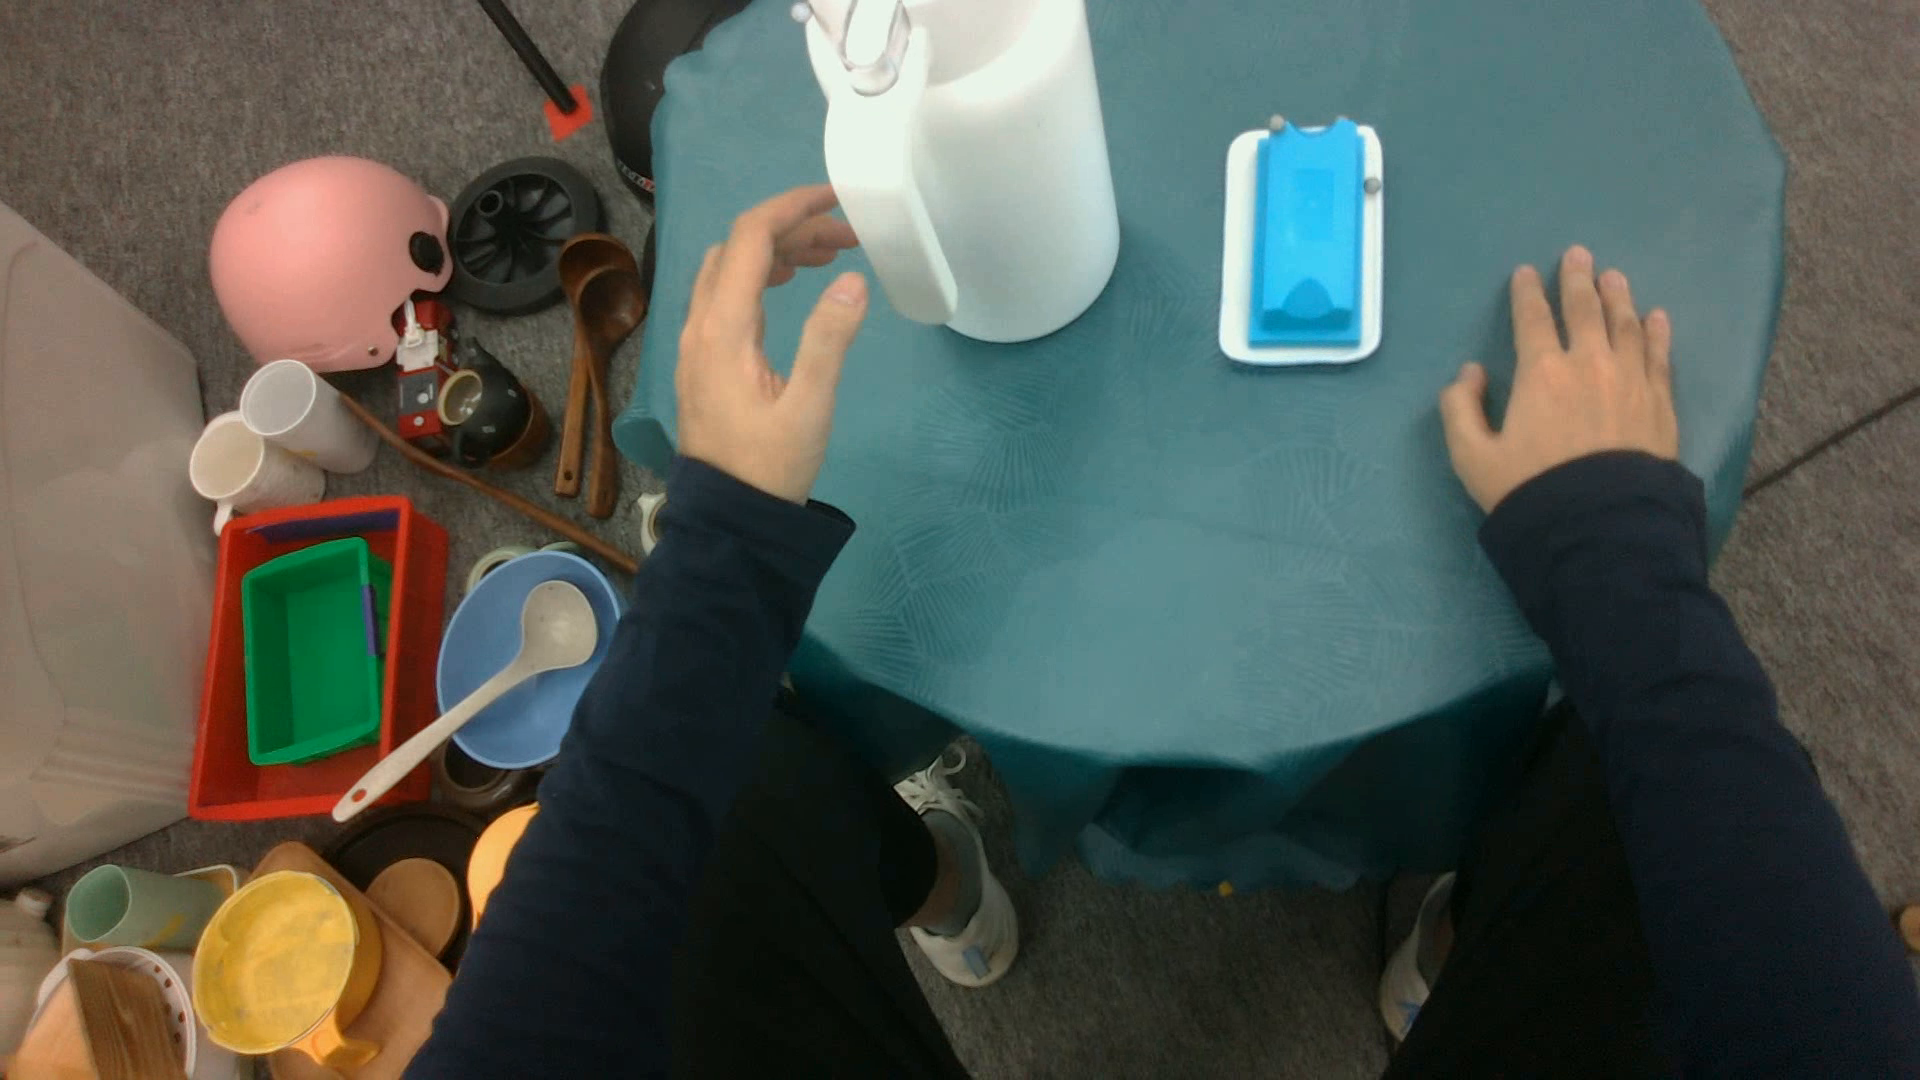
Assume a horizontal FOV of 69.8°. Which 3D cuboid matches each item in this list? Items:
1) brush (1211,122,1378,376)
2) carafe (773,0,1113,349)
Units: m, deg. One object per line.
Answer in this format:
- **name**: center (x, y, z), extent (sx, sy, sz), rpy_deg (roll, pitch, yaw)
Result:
- **brush**: center (0.173, -0.156, 0.711), extent (0.084, 0.056, 0.144), rpy_deg (1, 69, 16)
- **carafe**: center (-0.001, -0.181, 0.648), extent (0.124, 0.268, 0.173), rpy_deg (6, 74, 13)
